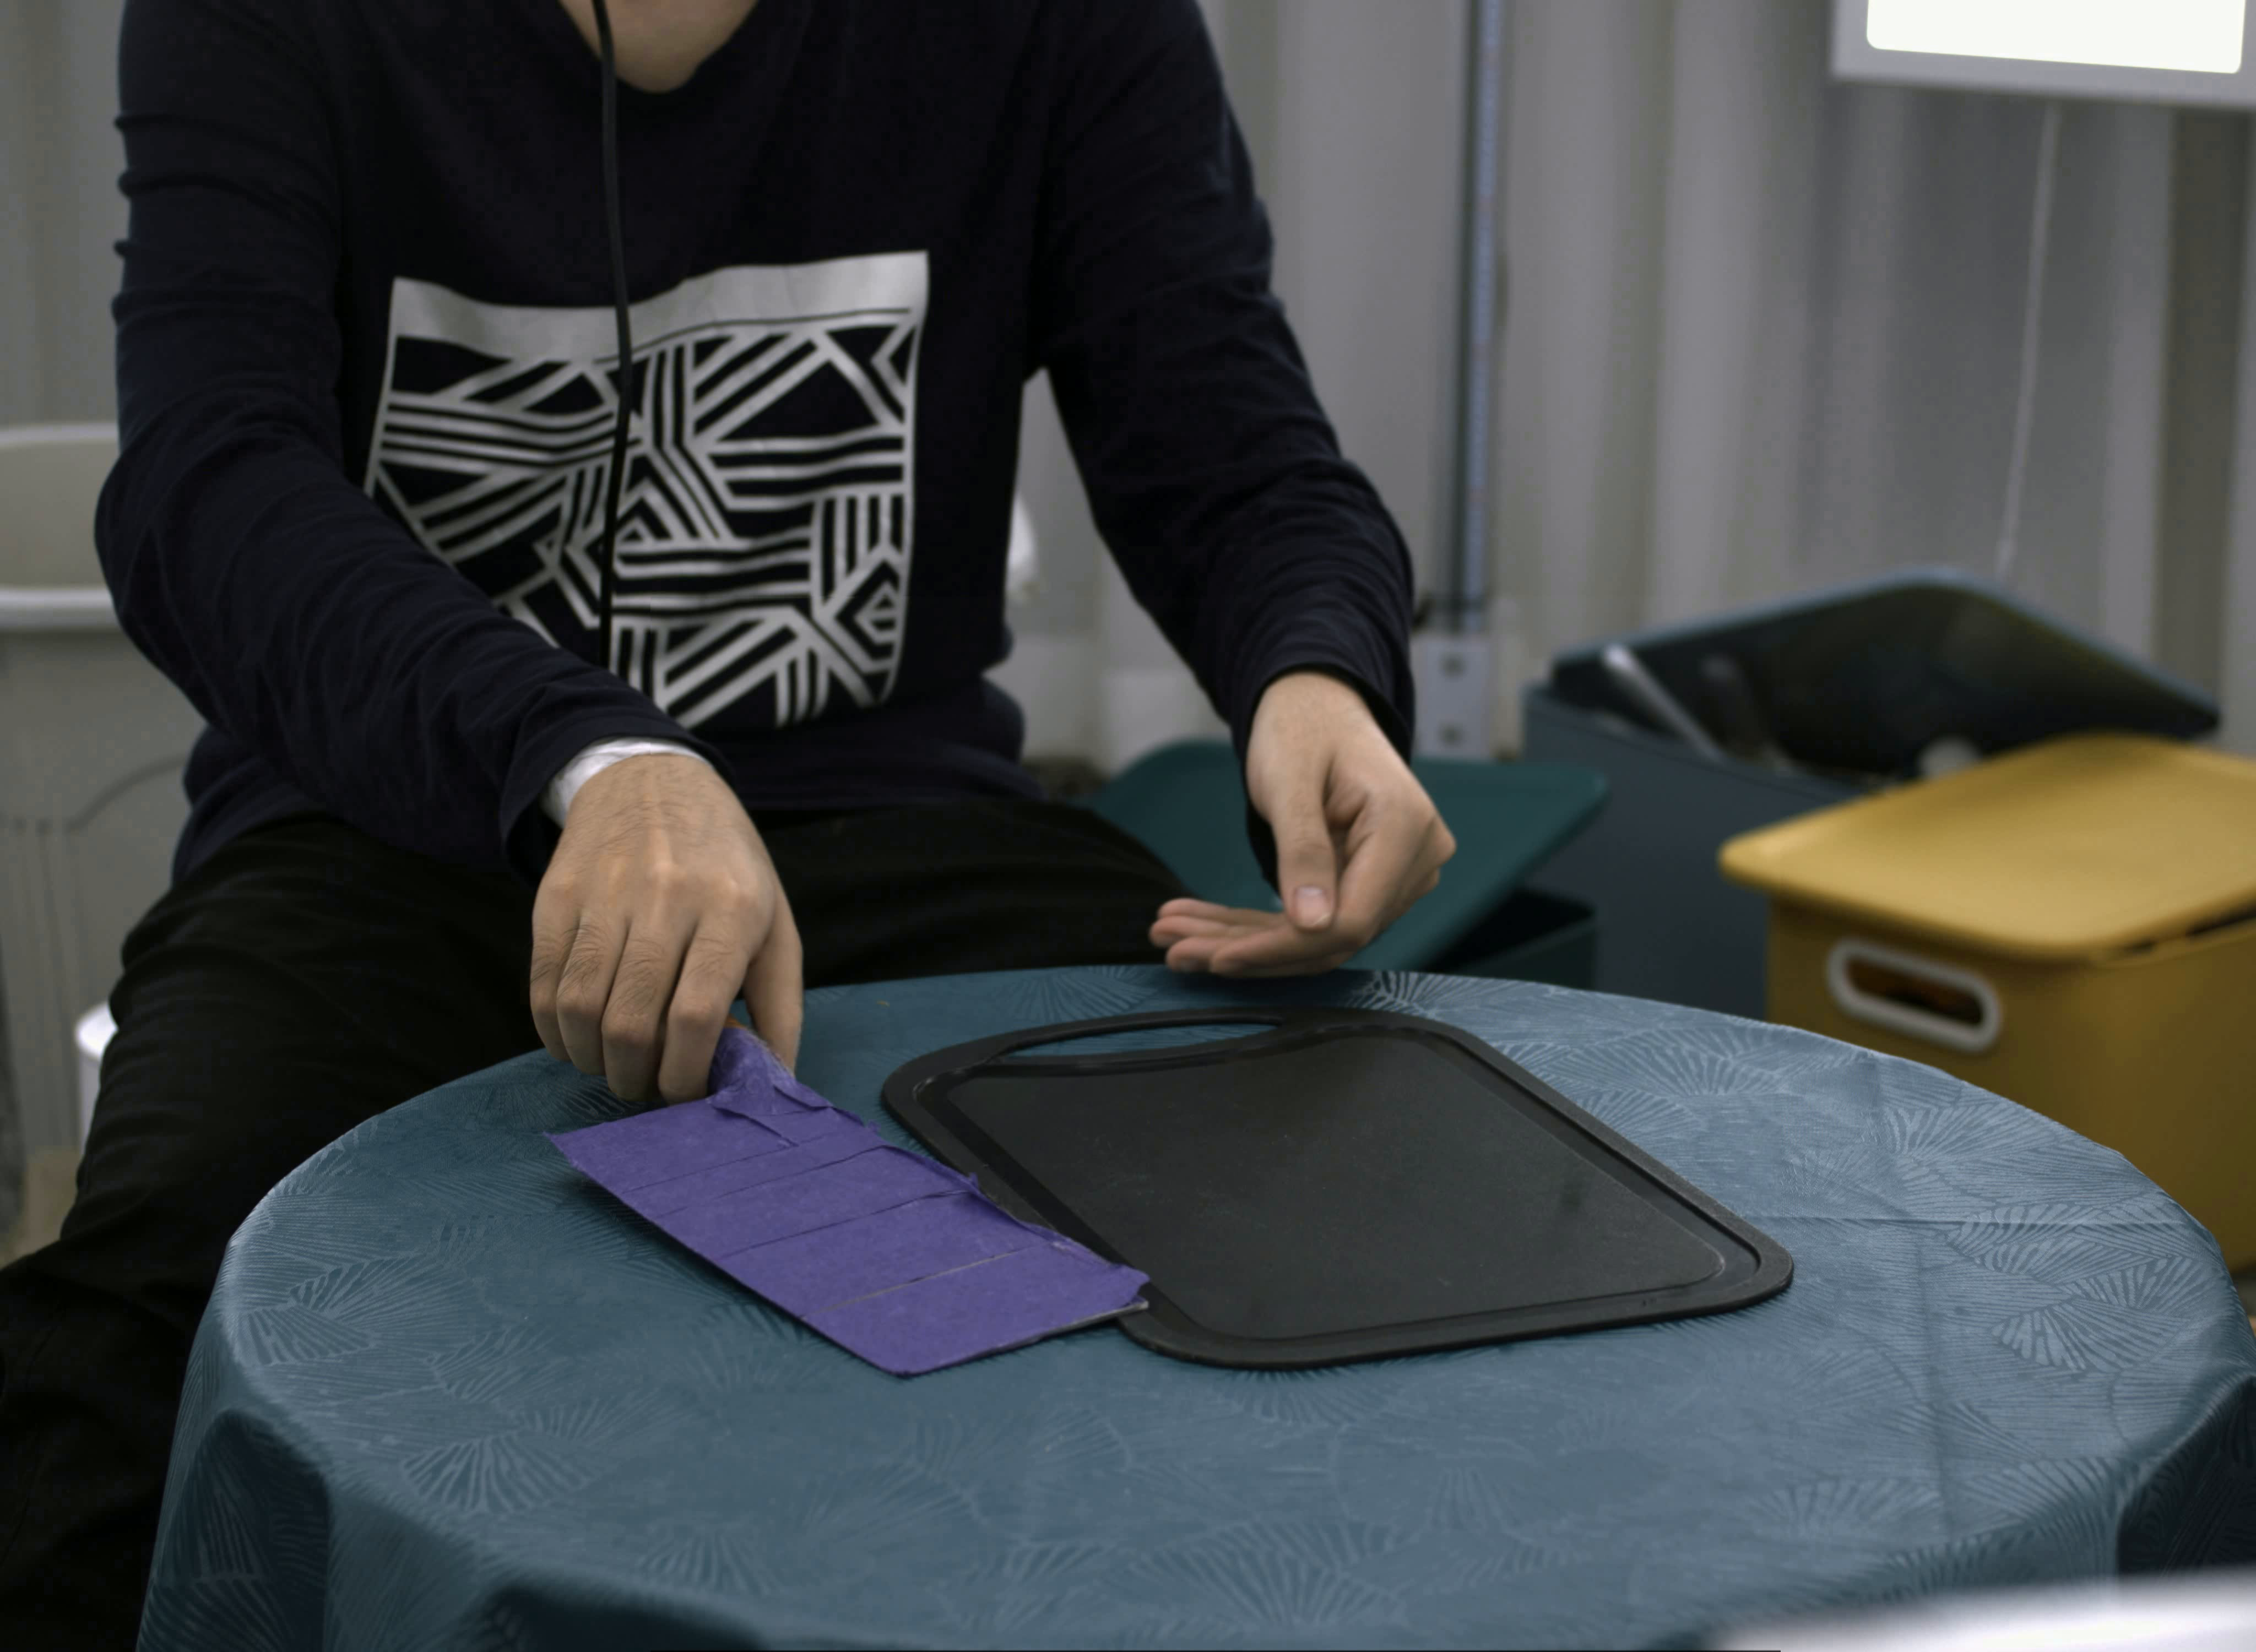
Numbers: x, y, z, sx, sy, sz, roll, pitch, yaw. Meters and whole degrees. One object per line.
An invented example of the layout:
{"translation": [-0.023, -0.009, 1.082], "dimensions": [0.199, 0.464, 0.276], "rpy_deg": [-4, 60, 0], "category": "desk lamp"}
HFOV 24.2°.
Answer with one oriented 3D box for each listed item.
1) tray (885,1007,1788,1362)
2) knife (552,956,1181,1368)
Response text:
{"translation": [0.054, 0.104, 1.644], "dimensions": [0.211, 0.010, 0.322], "rpy_deg": [-5, 16, -20], "category": "tray"}
{"translation": [-0.114, 0.099, 1.608], "dimensions": [0.104, 0.032, 0.311], "rpy_deg": [-12, 21, -34], "category": "knife"}
